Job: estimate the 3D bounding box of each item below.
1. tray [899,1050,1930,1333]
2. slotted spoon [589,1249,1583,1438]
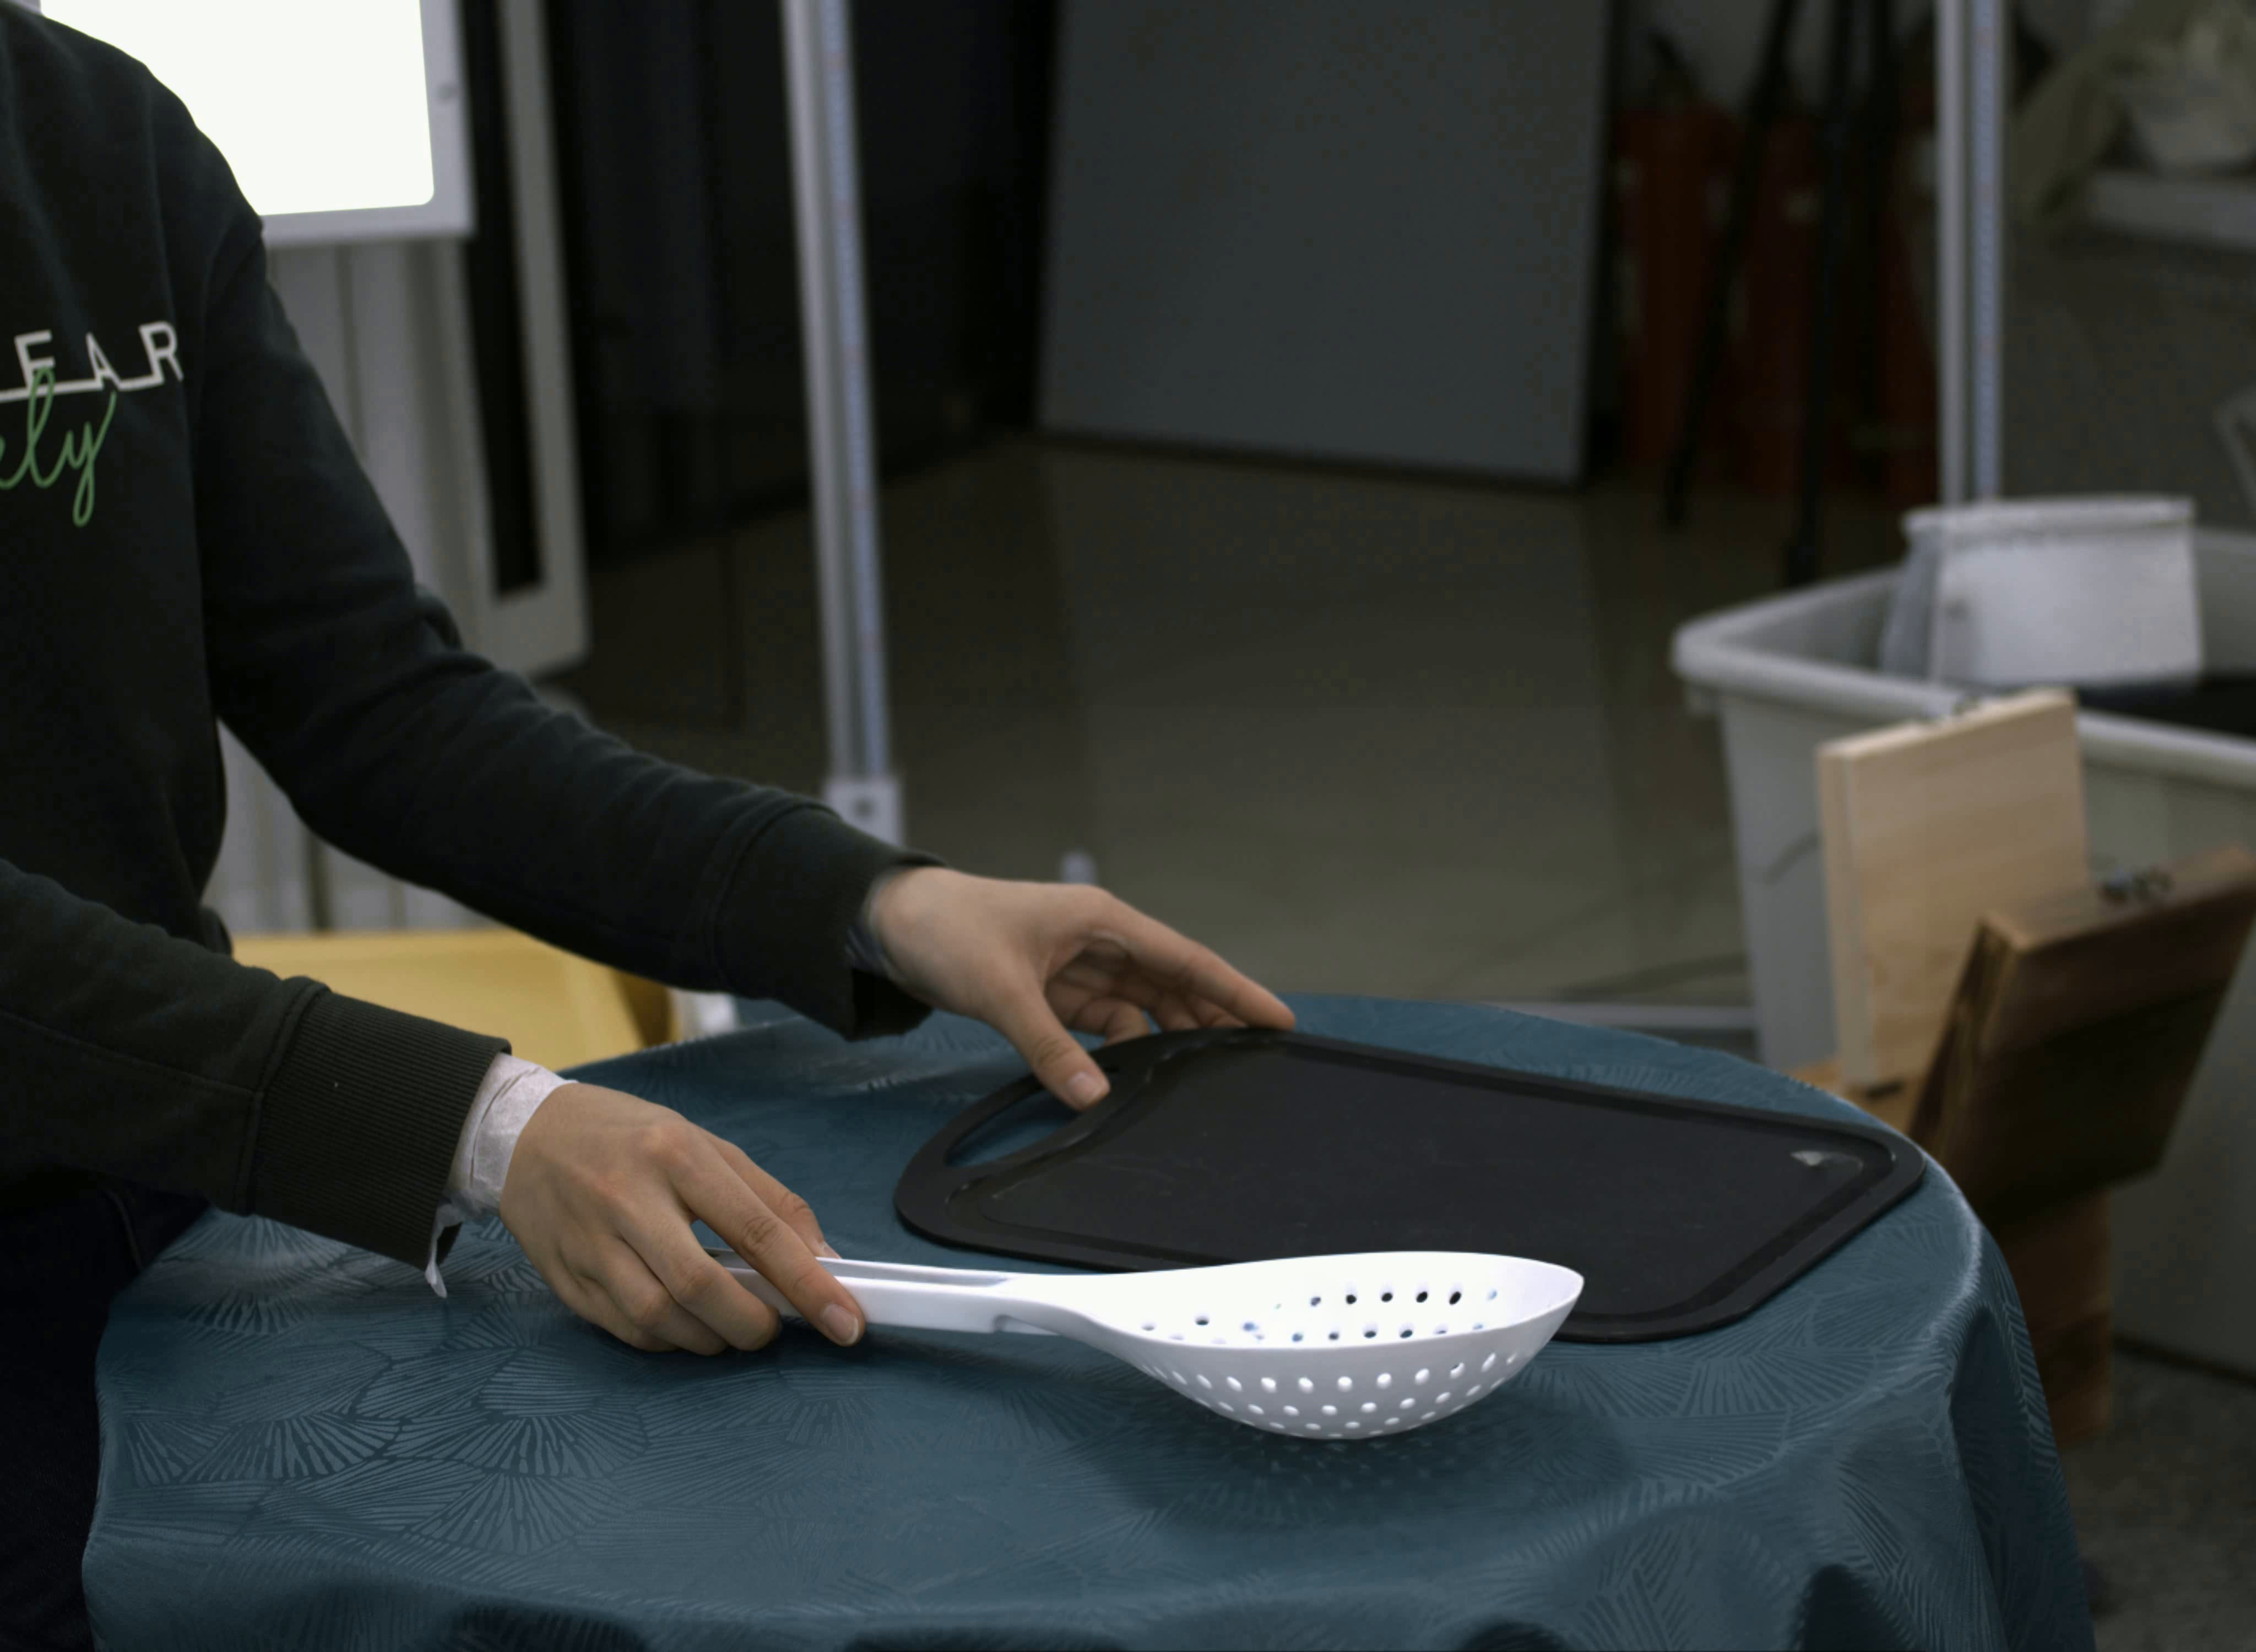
[{"bbox_3d":[0.085,0.114,1.750,0.327,0.010,0.207,6,18,33],"label":"tray"},{"bbox_3d":[-0.023,0.142,1.599,0.352,0.046,0.133,5,9,36],"label":"slotted spoon"}]
